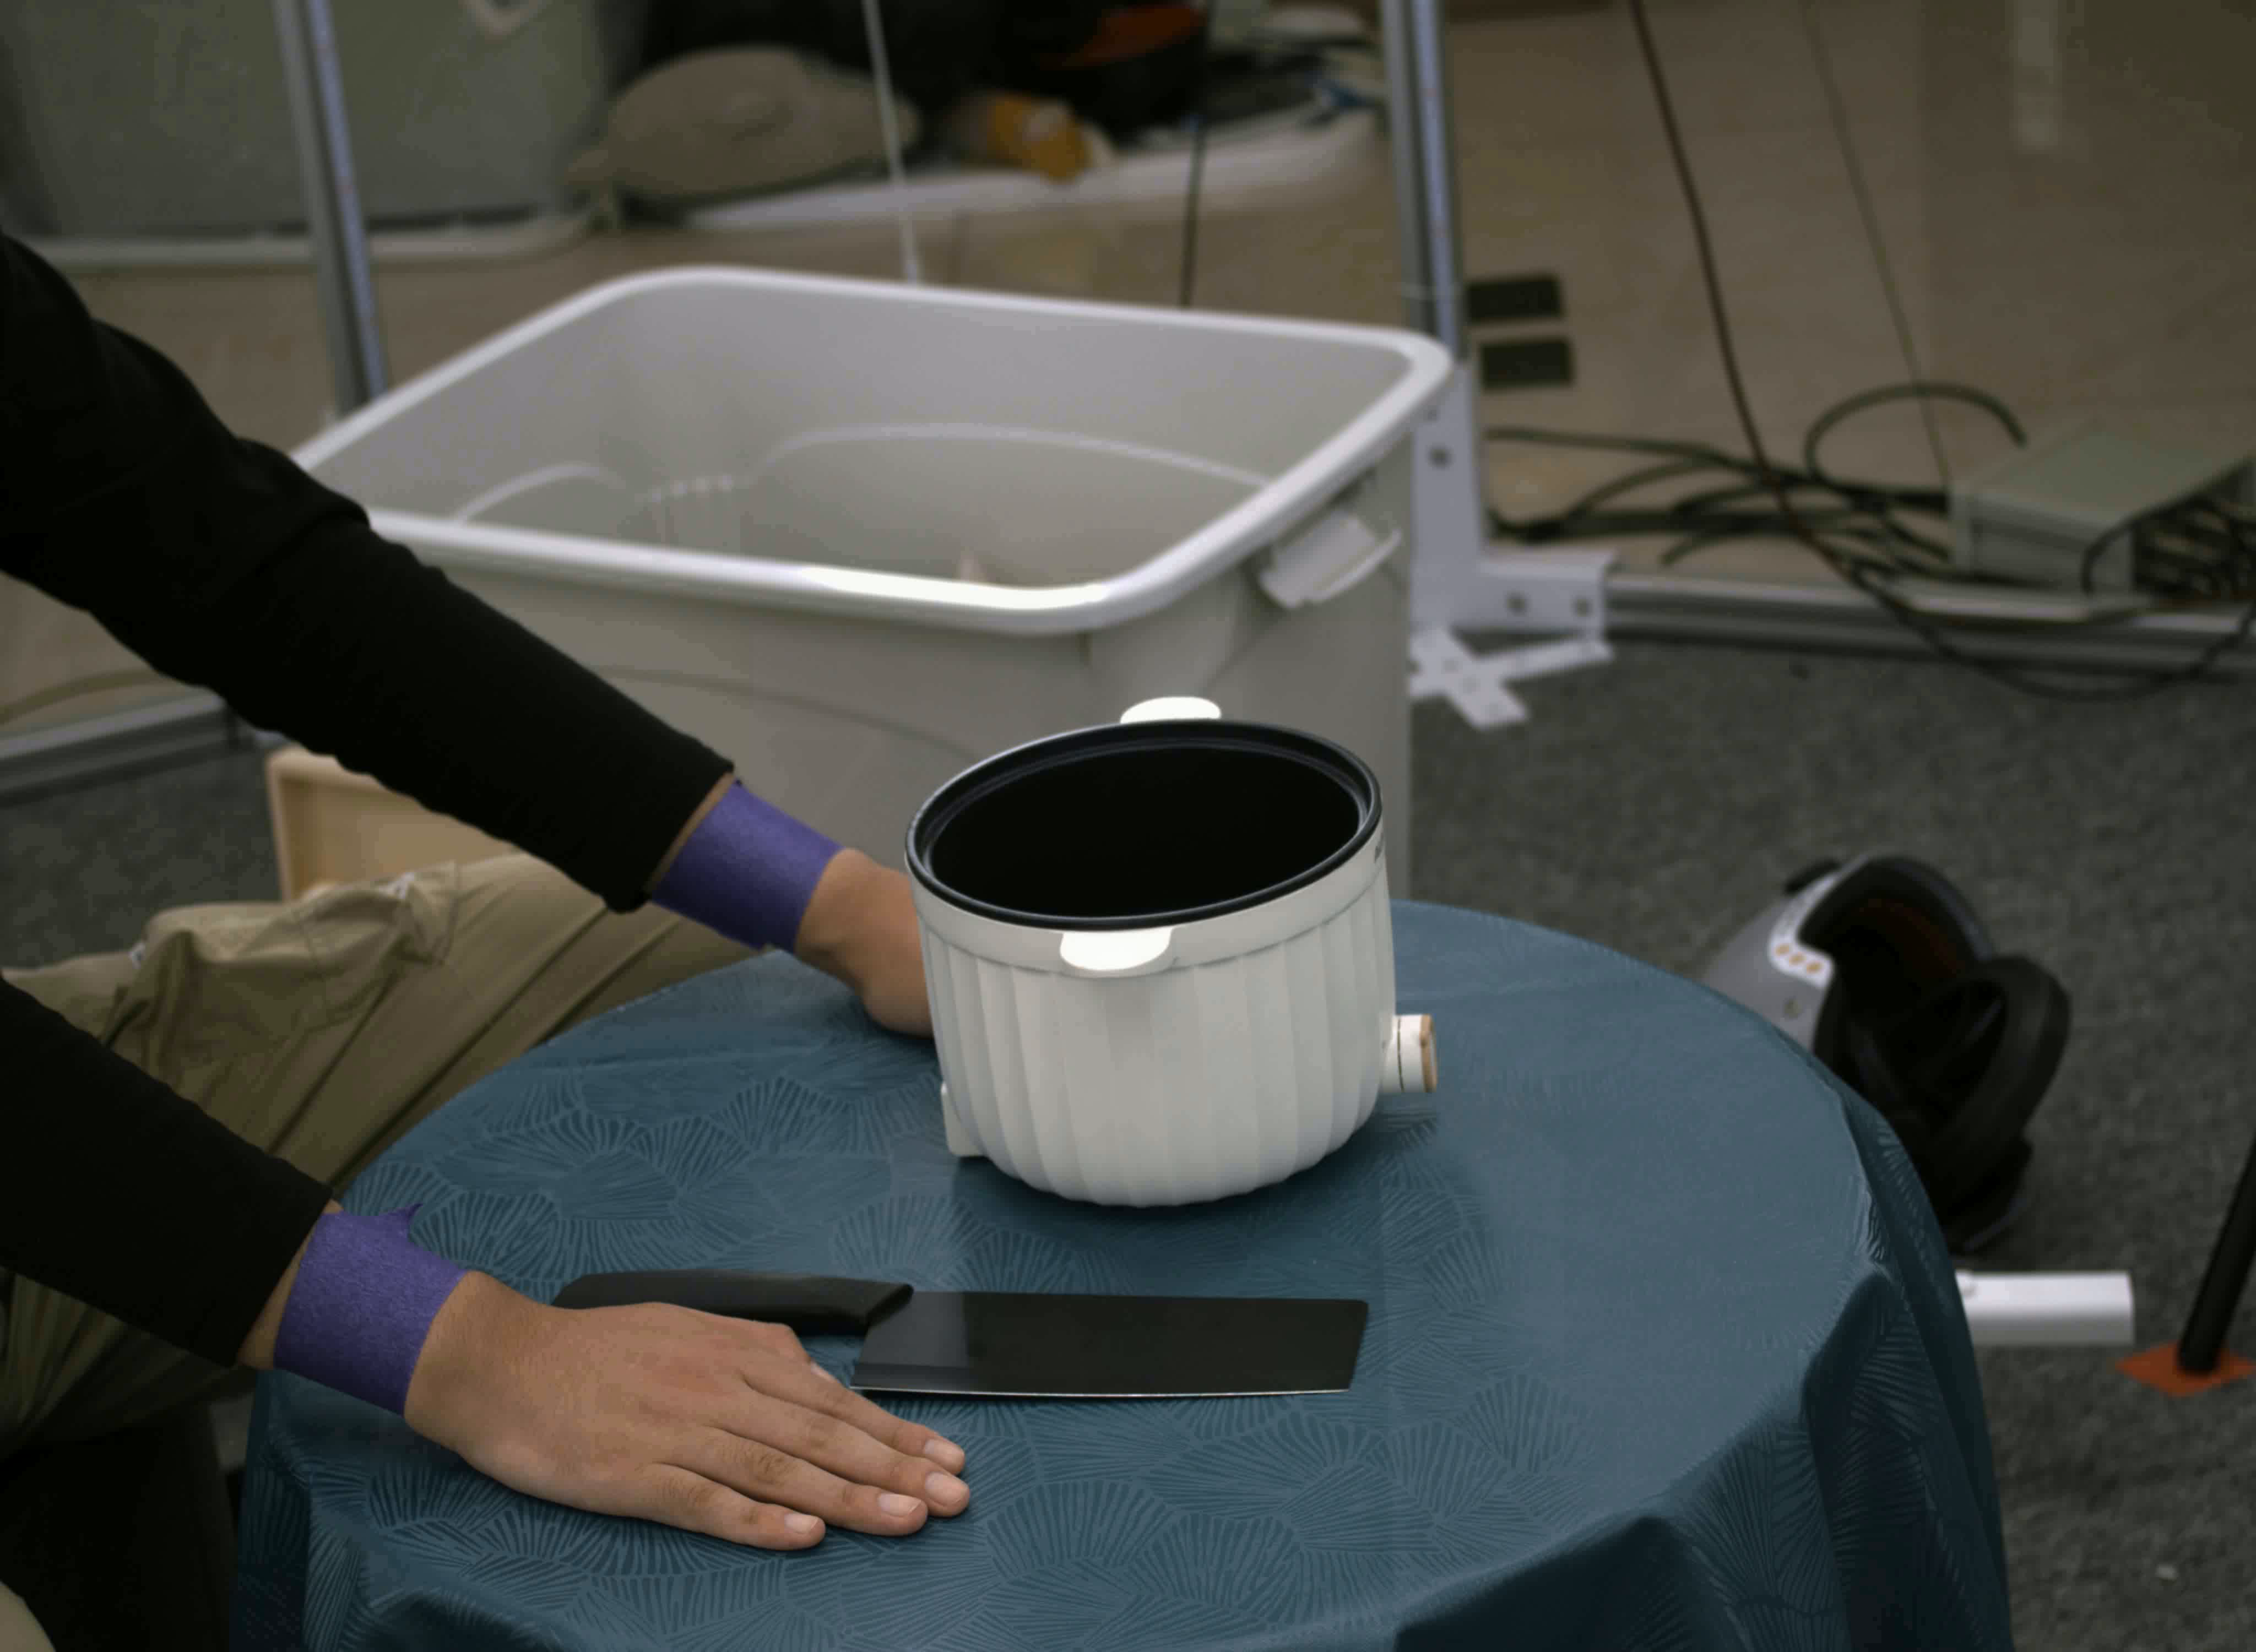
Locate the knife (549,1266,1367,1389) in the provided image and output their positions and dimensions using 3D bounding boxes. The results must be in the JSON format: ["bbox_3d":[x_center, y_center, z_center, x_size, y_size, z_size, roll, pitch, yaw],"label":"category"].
[{"bbox_3d":[-0.064,0.183,2.055,0.301,0.021,0.080,3,27,14],"label":"knife"}]

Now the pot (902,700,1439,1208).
[{"bbox_3d":[0.018,0.056,2.159,0.190,0.145,0.237,-6,26,9],"label":"pot"}]
